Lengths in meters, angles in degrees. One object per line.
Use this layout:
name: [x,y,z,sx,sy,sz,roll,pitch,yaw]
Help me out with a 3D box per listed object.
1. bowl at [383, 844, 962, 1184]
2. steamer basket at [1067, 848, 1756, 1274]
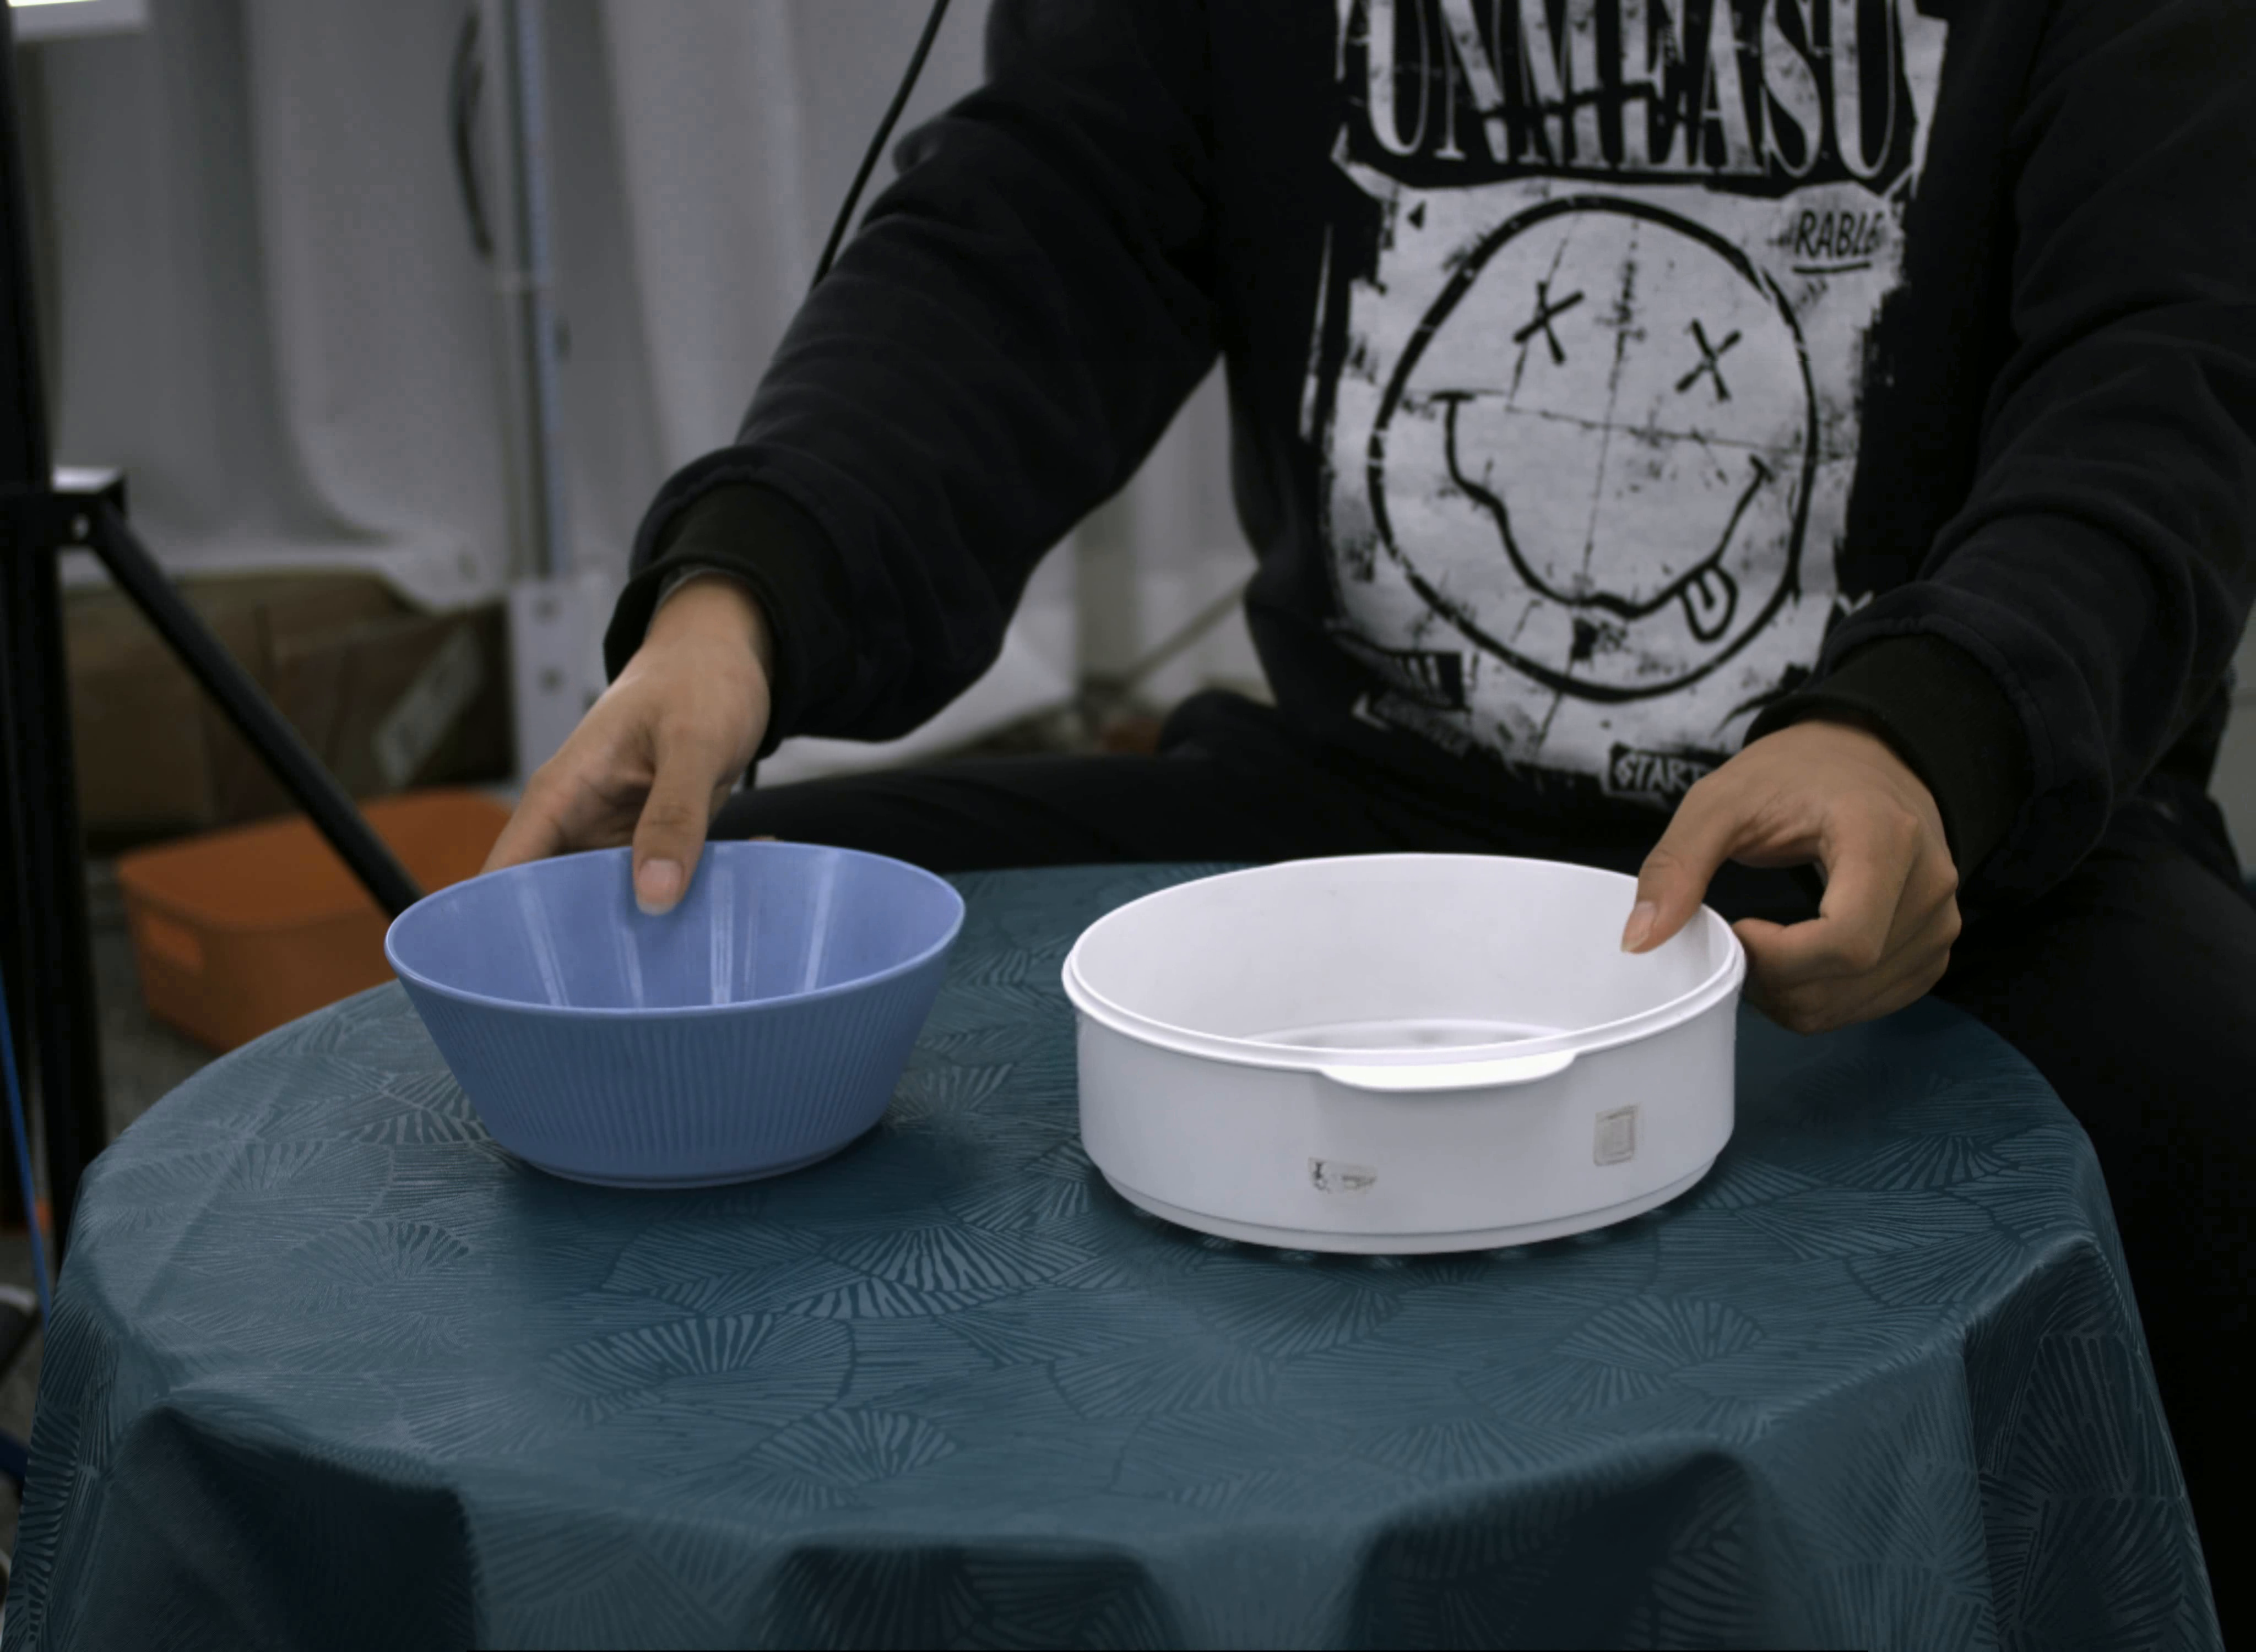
bowl: [-0.137,0.059,1.623,0.175,0.070,0.177,-2,16,-1]
steamer basket: [0.083,0.069,1.558,0.200,0.069,0.232,-4,18,-4]
